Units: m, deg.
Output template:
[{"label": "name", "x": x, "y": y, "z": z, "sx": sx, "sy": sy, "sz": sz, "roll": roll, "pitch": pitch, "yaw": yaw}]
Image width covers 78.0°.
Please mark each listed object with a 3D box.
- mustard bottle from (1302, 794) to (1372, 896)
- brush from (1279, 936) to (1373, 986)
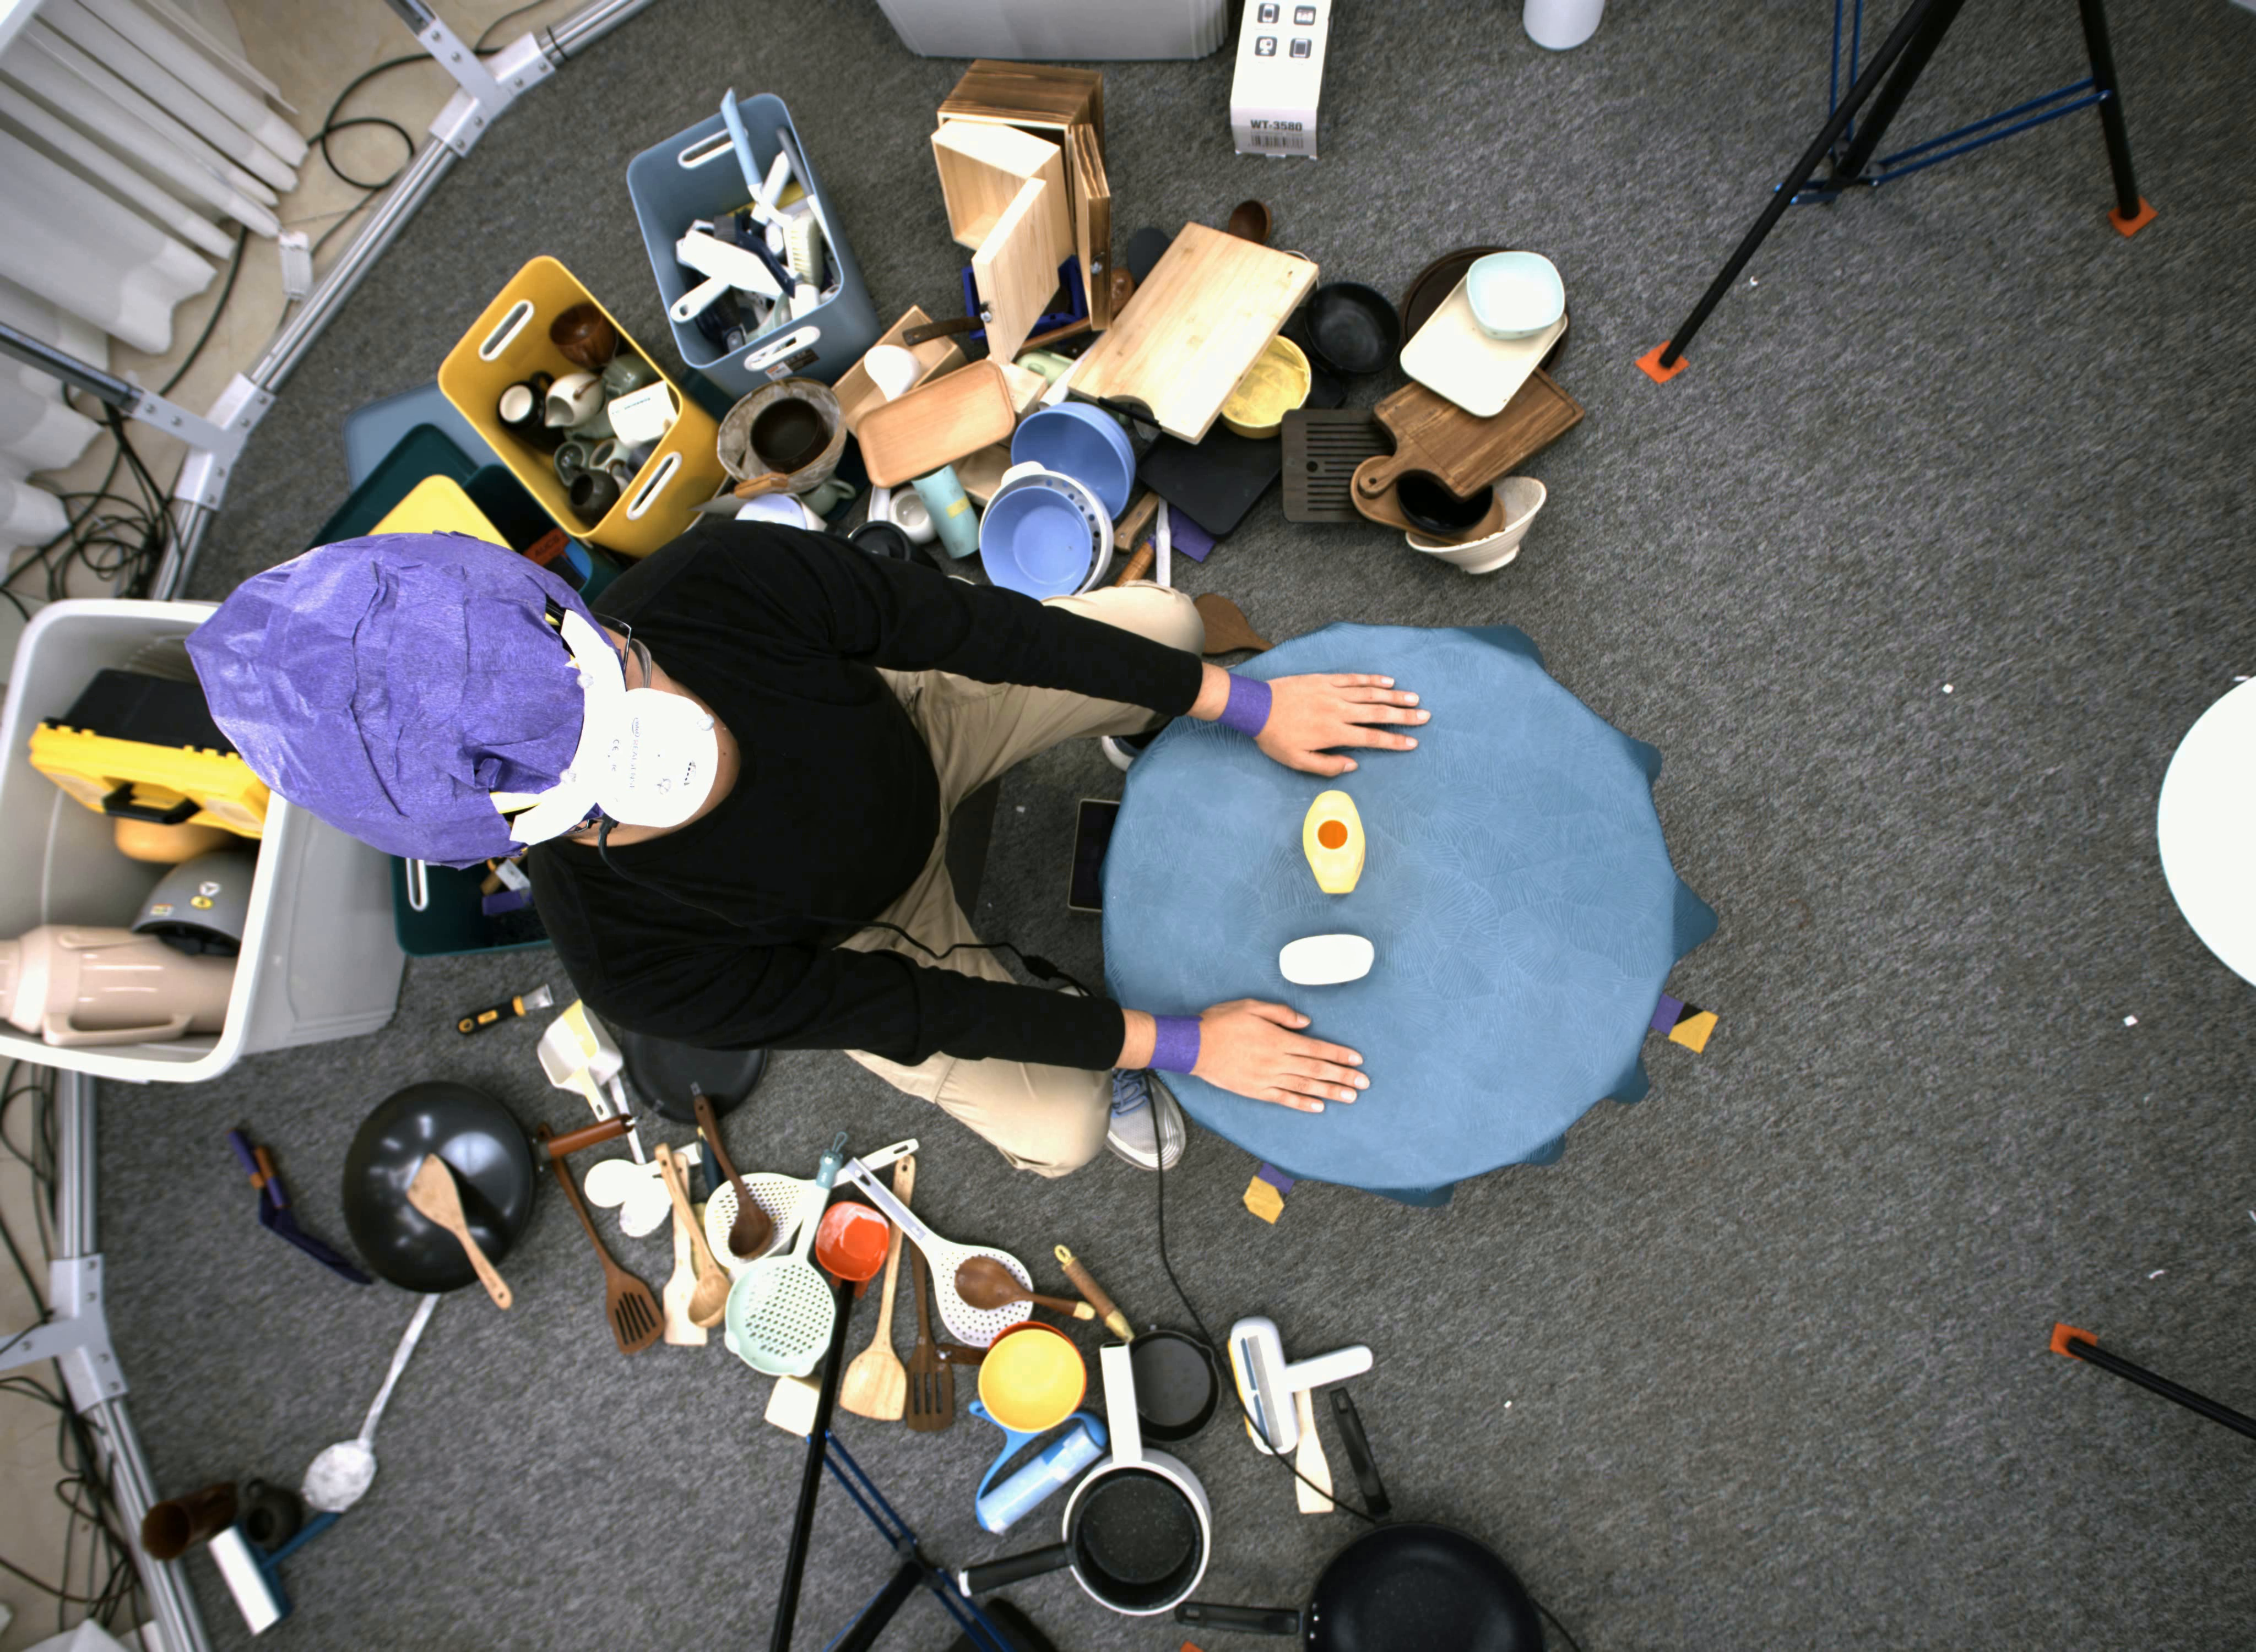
[{"label": "mustard bottle", "x": 0.211, "y": 0.018, "z": 1.388, "sx": 0.059, "sy": 0.172, "sz": 0.098, "roll": -6, "pitch": 85, "yaw": 13}, {"label": "brush", "x": 0.204, "y": 0.138, "z": 1.430, "sx": 0.099, "sy": 0.073, "sz": 0.050, "roll": -4, "pitch": 83, "yaw": 9}]
